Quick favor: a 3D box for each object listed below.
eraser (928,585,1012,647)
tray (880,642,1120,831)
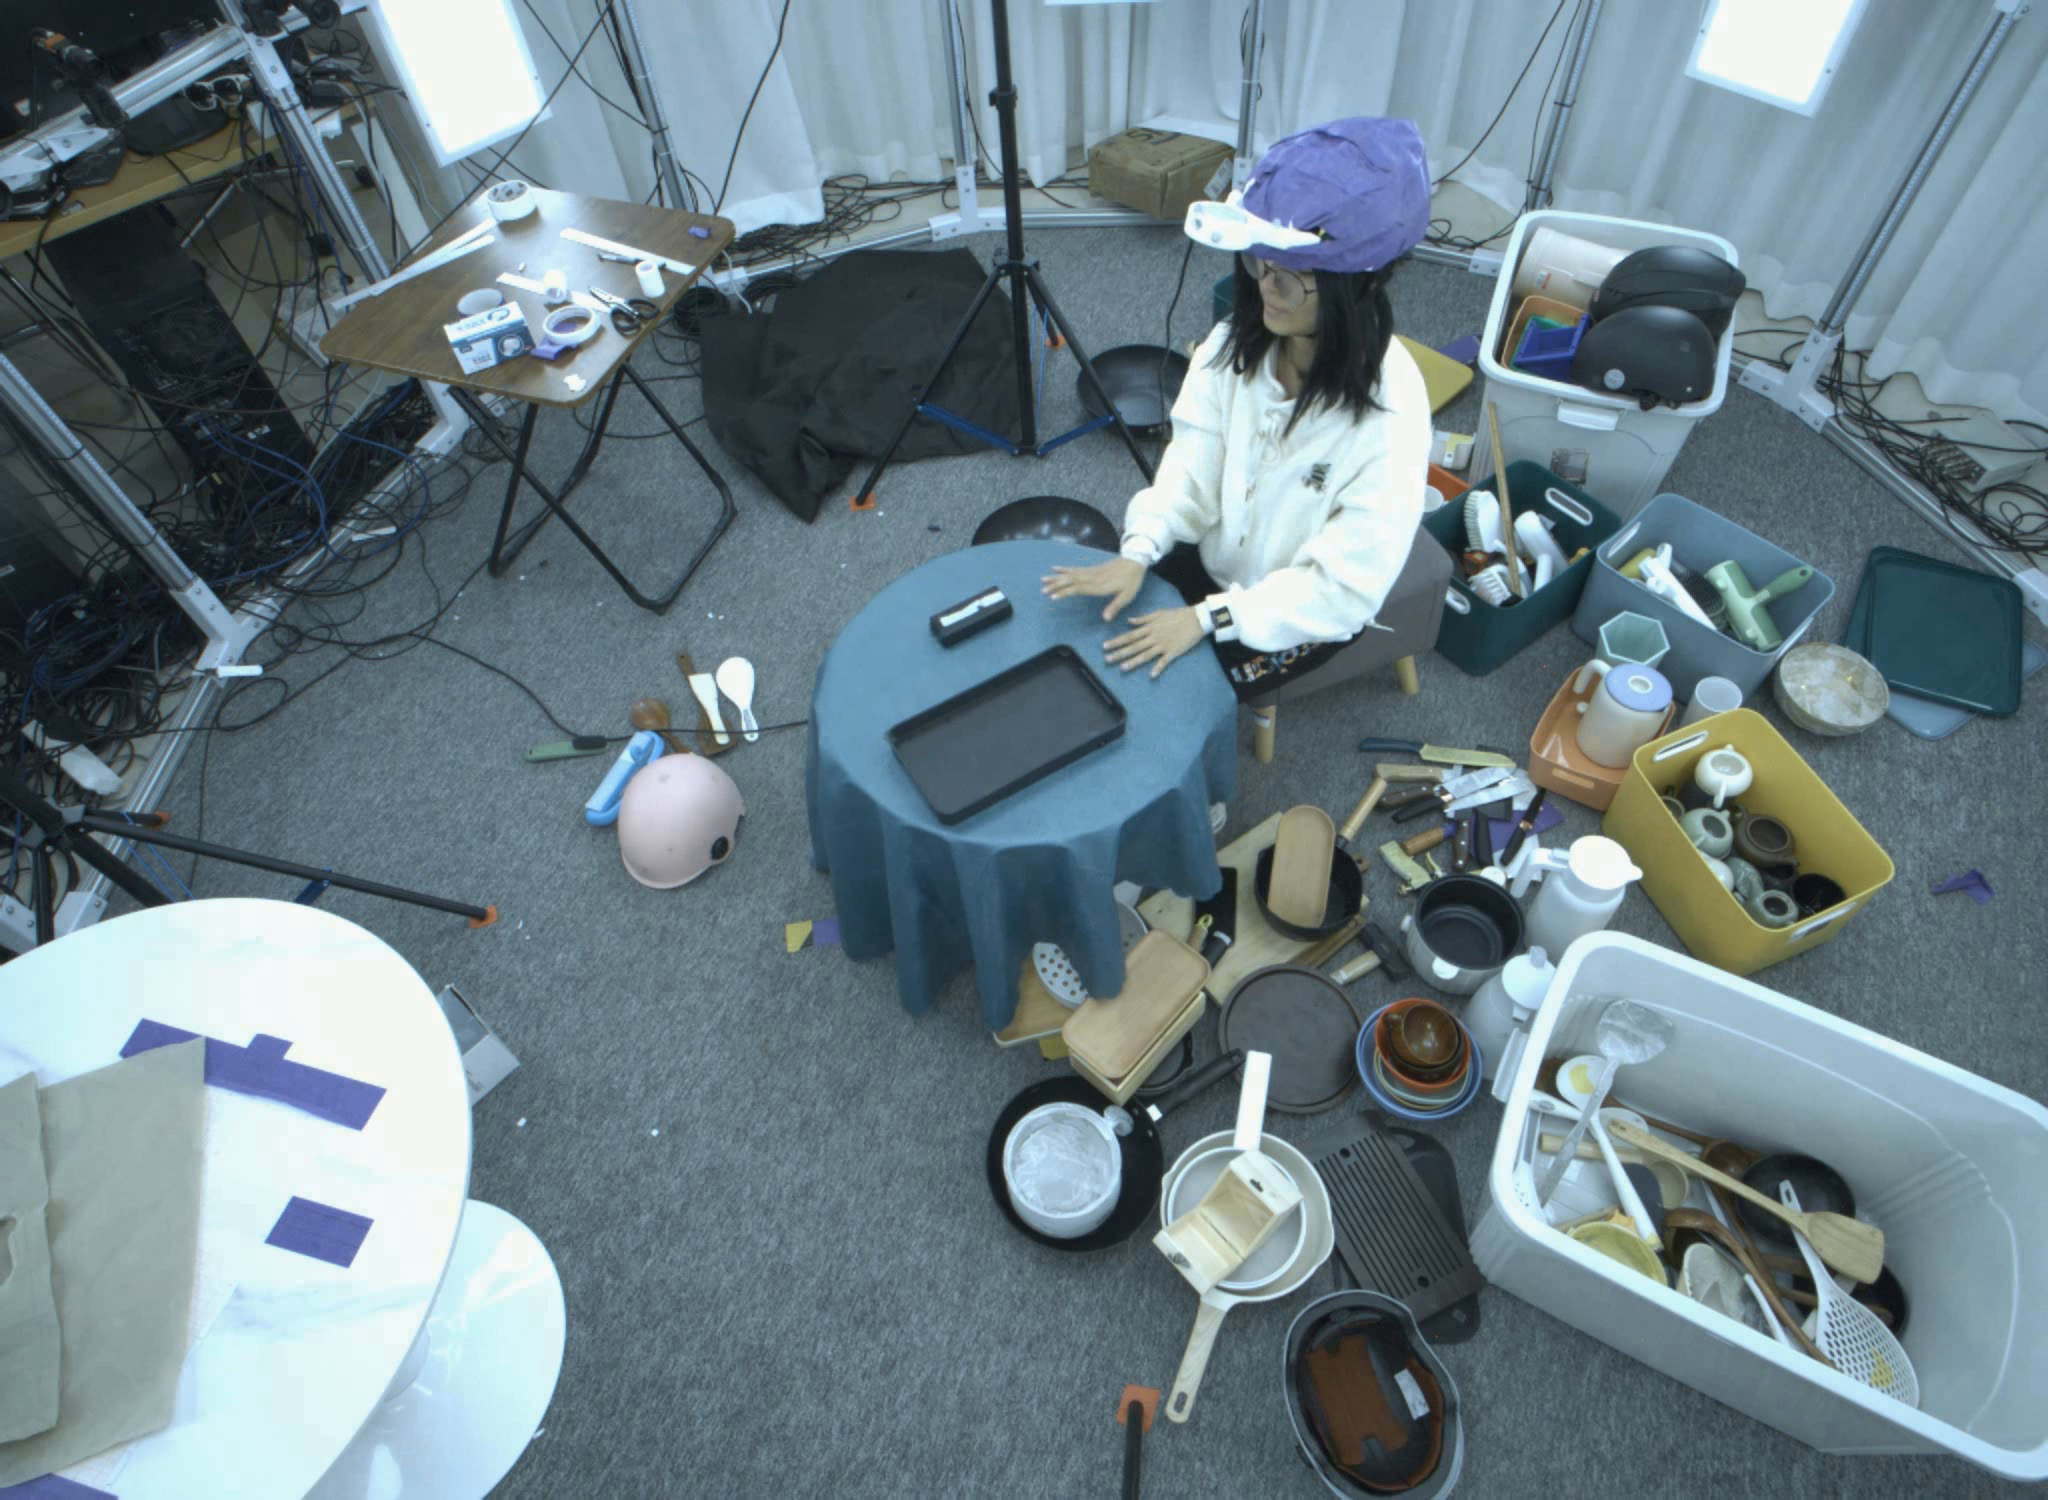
[{"bbox_3d":[-0.085,-0.211,1.922,0.126,0.031,0.052,-28,62,-17],"label":"eraser"},{"bbox_3d":[-0.033,-0.024,1.783,0.320,0.037,0.181,-31,59,-18],"label":"tray"}]
